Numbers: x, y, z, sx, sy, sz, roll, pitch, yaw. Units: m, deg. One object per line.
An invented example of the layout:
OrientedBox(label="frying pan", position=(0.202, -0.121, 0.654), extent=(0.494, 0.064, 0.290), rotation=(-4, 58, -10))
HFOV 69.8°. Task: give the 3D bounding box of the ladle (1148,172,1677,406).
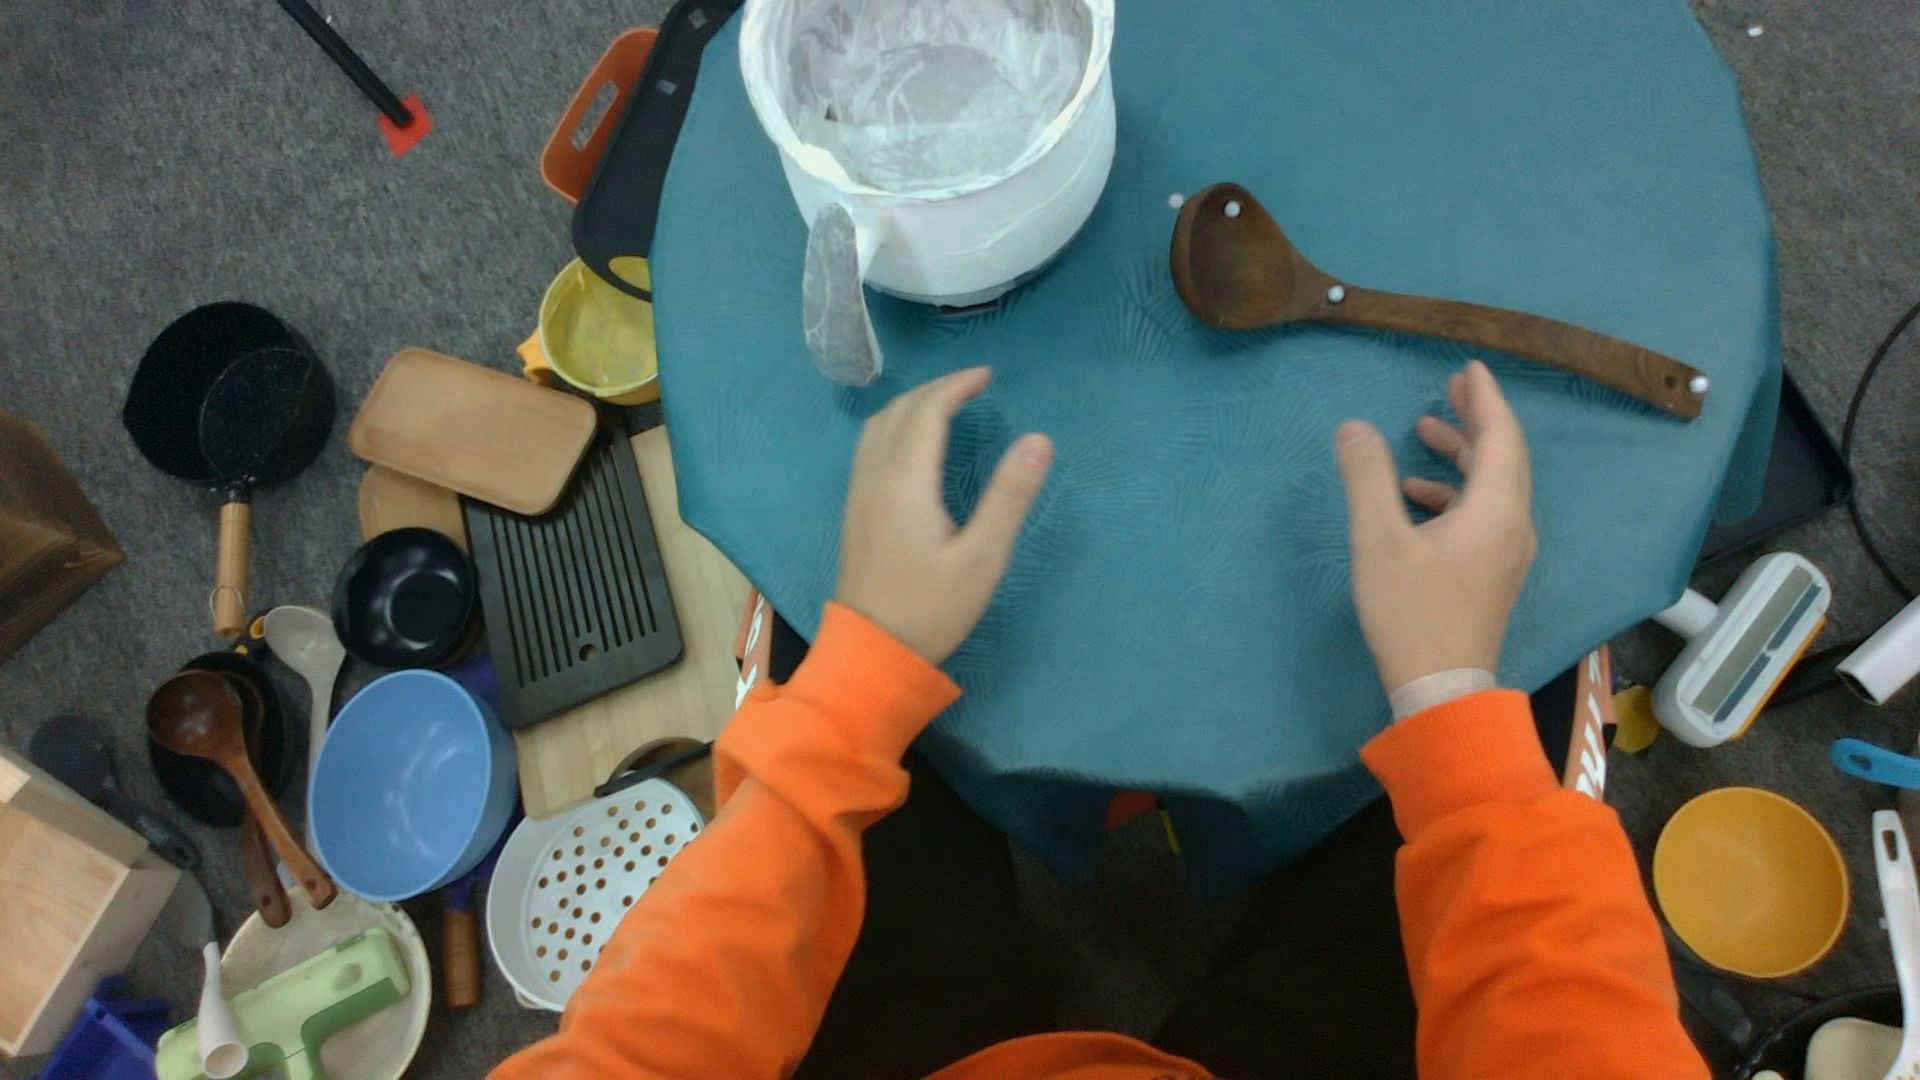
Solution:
OrientedBox(label="ladle", position=(0.230, -0.122, 0.694), extent=(0.274, 0.071, 0.076), rotation=(16, 80, 11))

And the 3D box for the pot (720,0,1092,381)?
OrientedBox(label="pot", position=(-0.031, -0.201, 0.707), extent=(0.178, 0.136, 0.234), rotation=(19, 78, 11))
